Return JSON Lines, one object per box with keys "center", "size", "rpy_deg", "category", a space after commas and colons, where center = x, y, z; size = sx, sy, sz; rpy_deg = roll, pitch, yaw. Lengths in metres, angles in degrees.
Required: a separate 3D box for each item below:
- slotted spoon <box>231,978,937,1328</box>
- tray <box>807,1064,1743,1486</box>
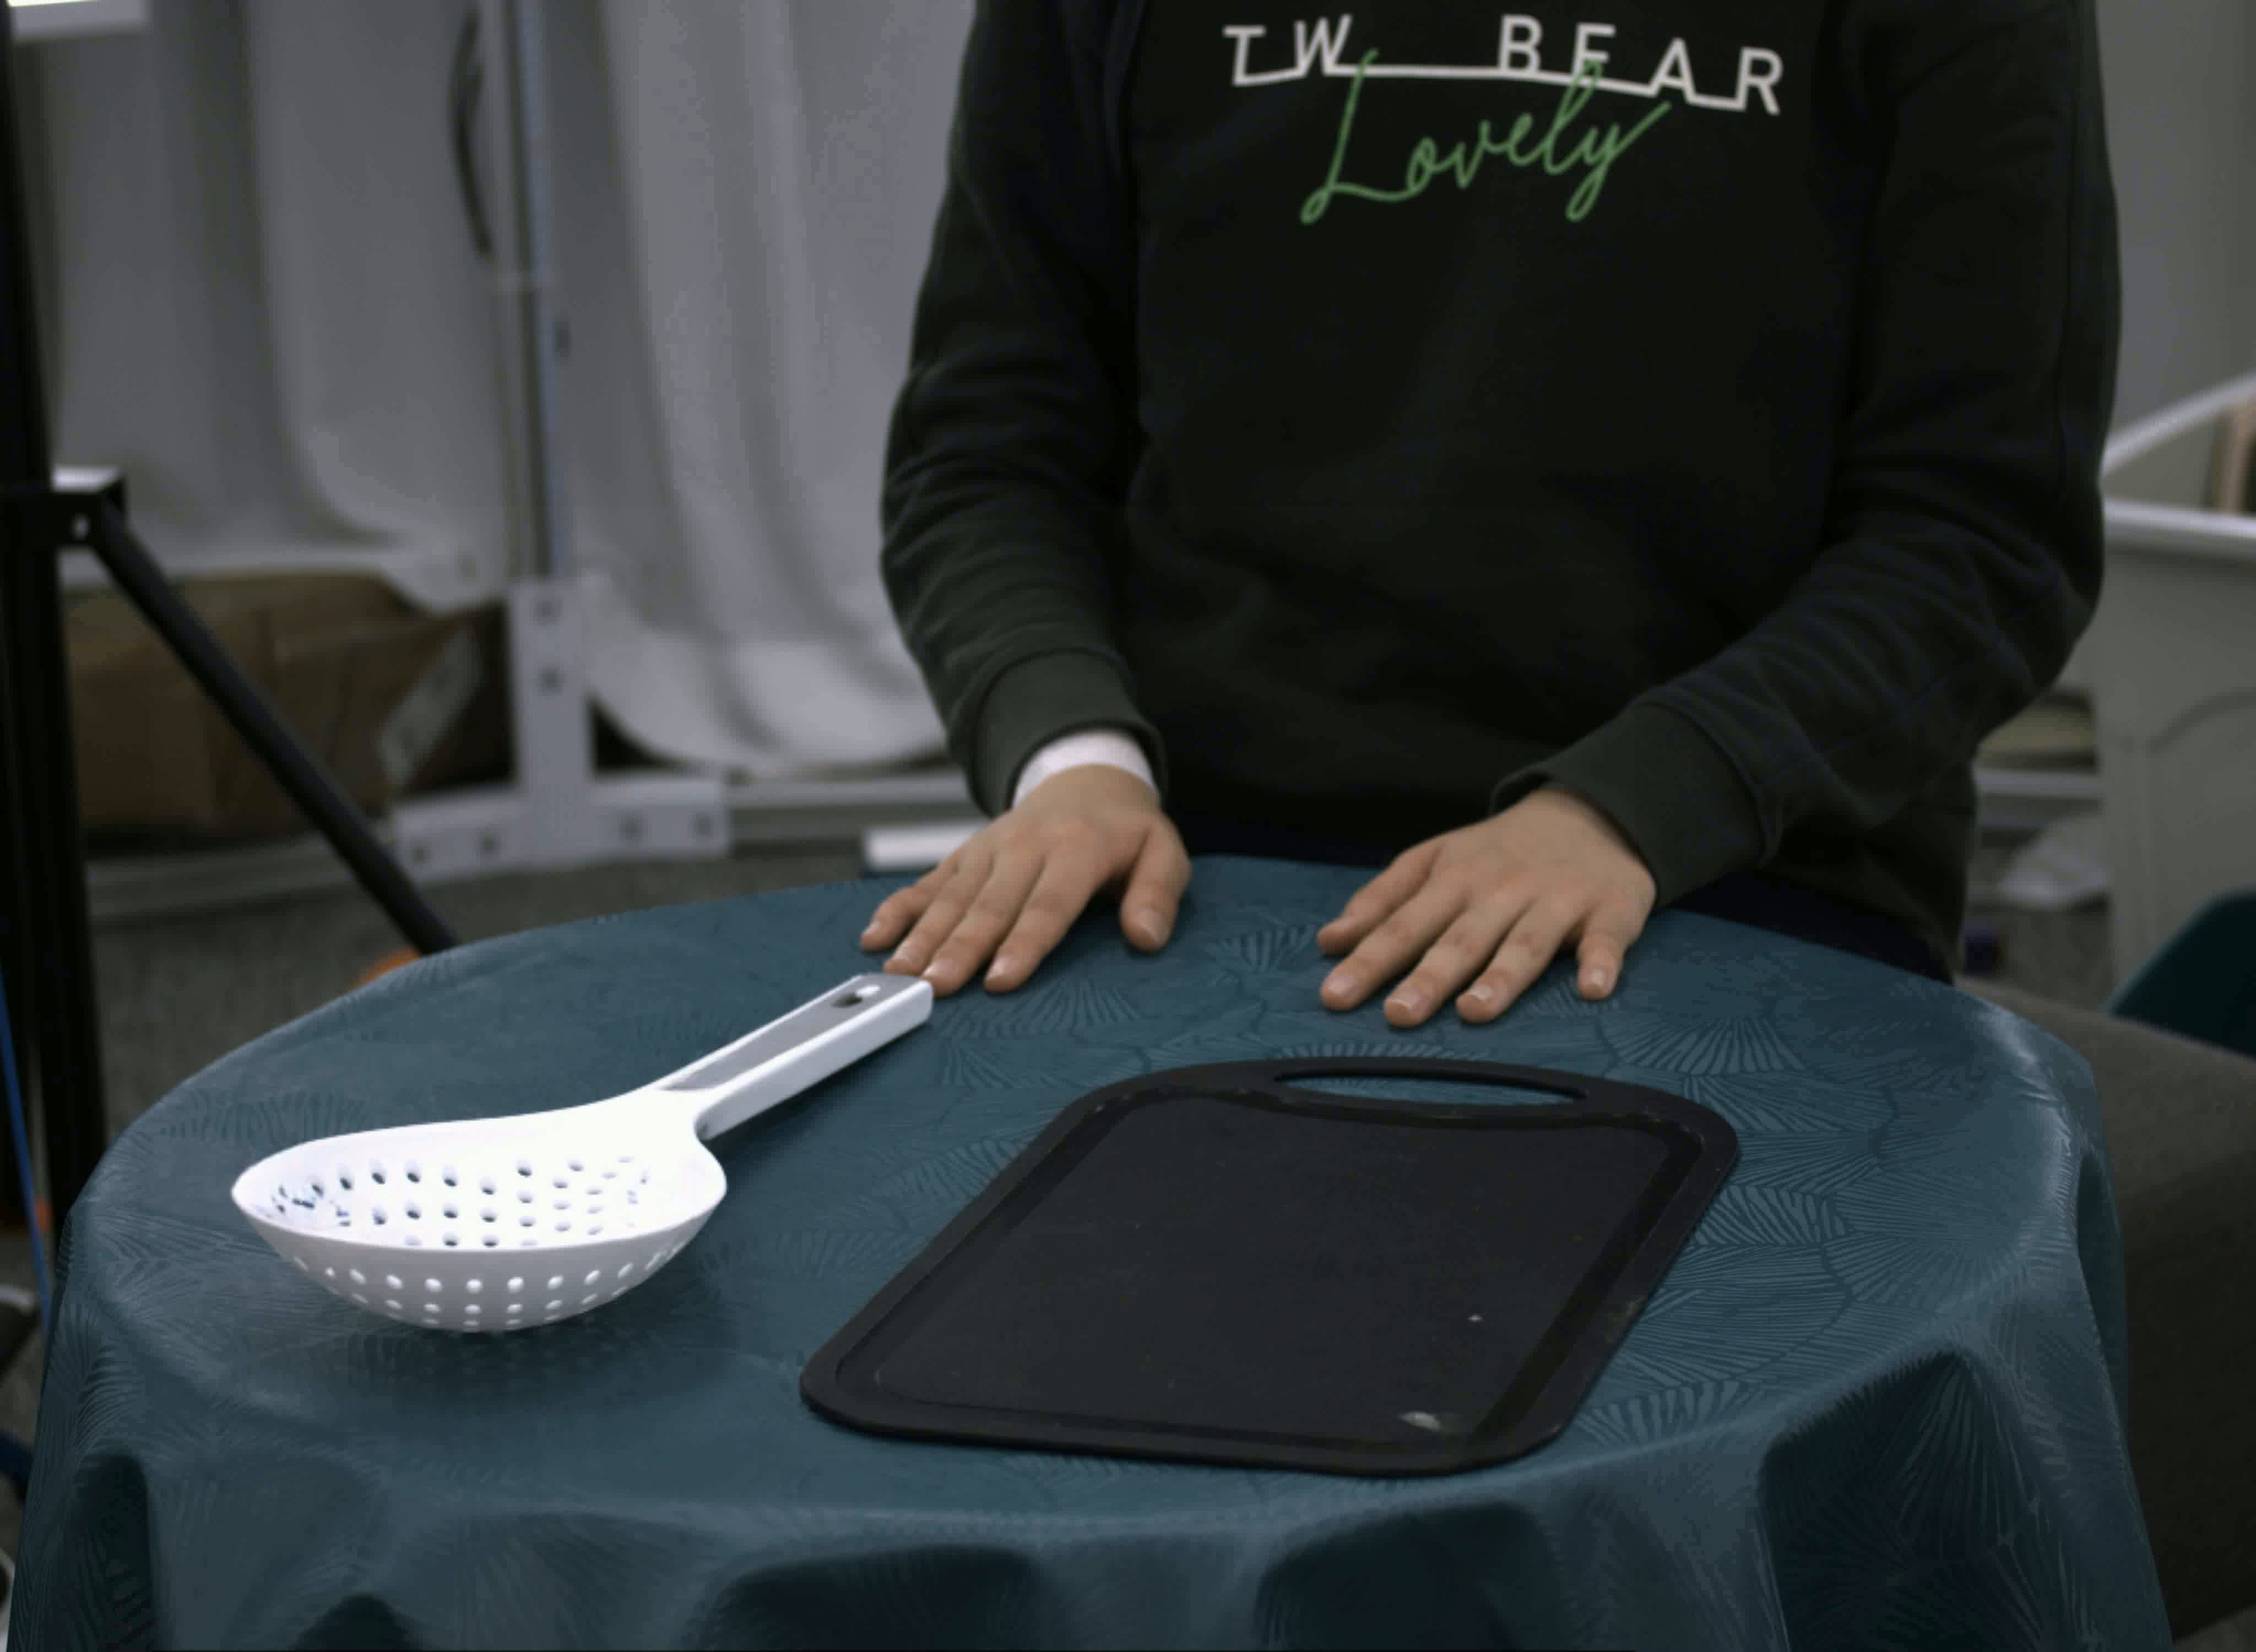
{"center": [-0.139, 0.087, 1.573], "size": [0.138, 0.046, 0.345], "rpy_deg": [6, 17, 22], "category": "slotted spoon"}
{"center": [0.050, 0.118, 1.502], "size": [0.213, 0.010, 0.322], "rpy_deg": [3, 16, 19], "category": "tray"}
